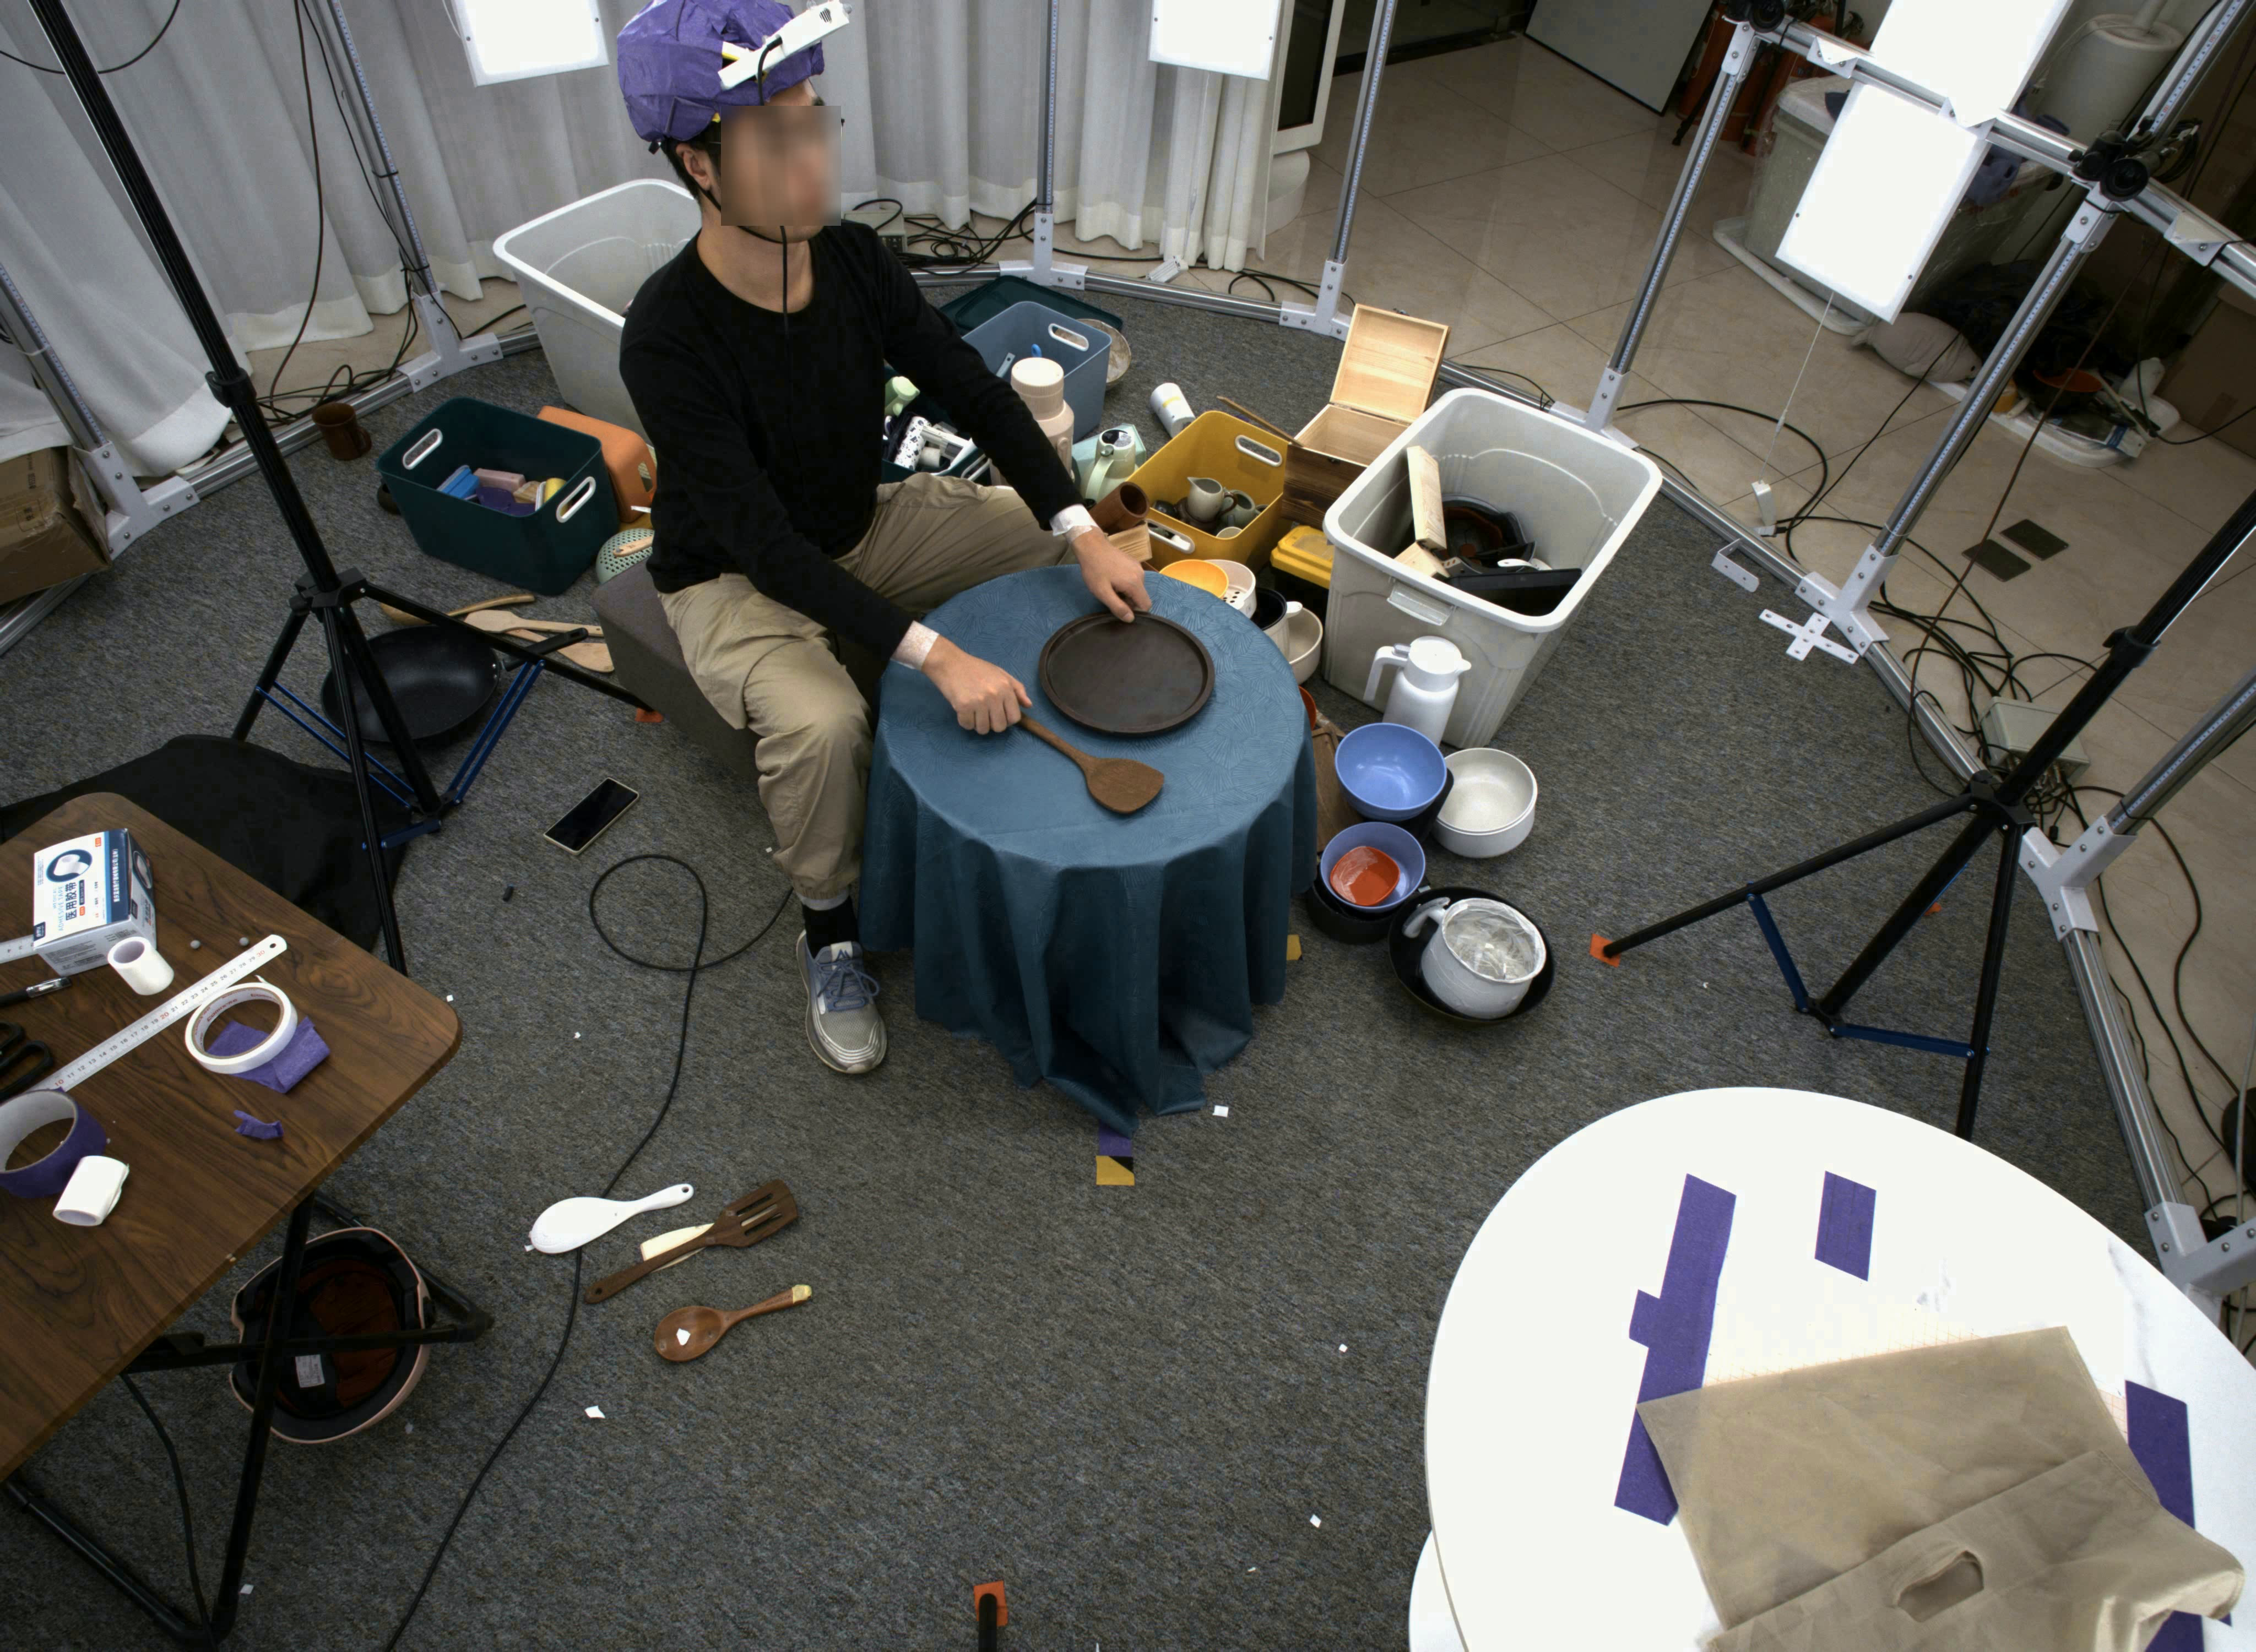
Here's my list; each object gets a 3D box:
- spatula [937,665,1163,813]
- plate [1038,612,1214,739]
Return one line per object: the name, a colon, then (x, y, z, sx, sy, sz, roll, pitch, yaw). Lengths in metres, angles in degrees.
spatula: (-0.121, -0.131, 1.766, 0.391, 0.015, 0.097, 33, 54, 23)
plate: (-0.003, -0.219, 1.845, 0.254, 0.028, 0.261, 3, 50, -3)
